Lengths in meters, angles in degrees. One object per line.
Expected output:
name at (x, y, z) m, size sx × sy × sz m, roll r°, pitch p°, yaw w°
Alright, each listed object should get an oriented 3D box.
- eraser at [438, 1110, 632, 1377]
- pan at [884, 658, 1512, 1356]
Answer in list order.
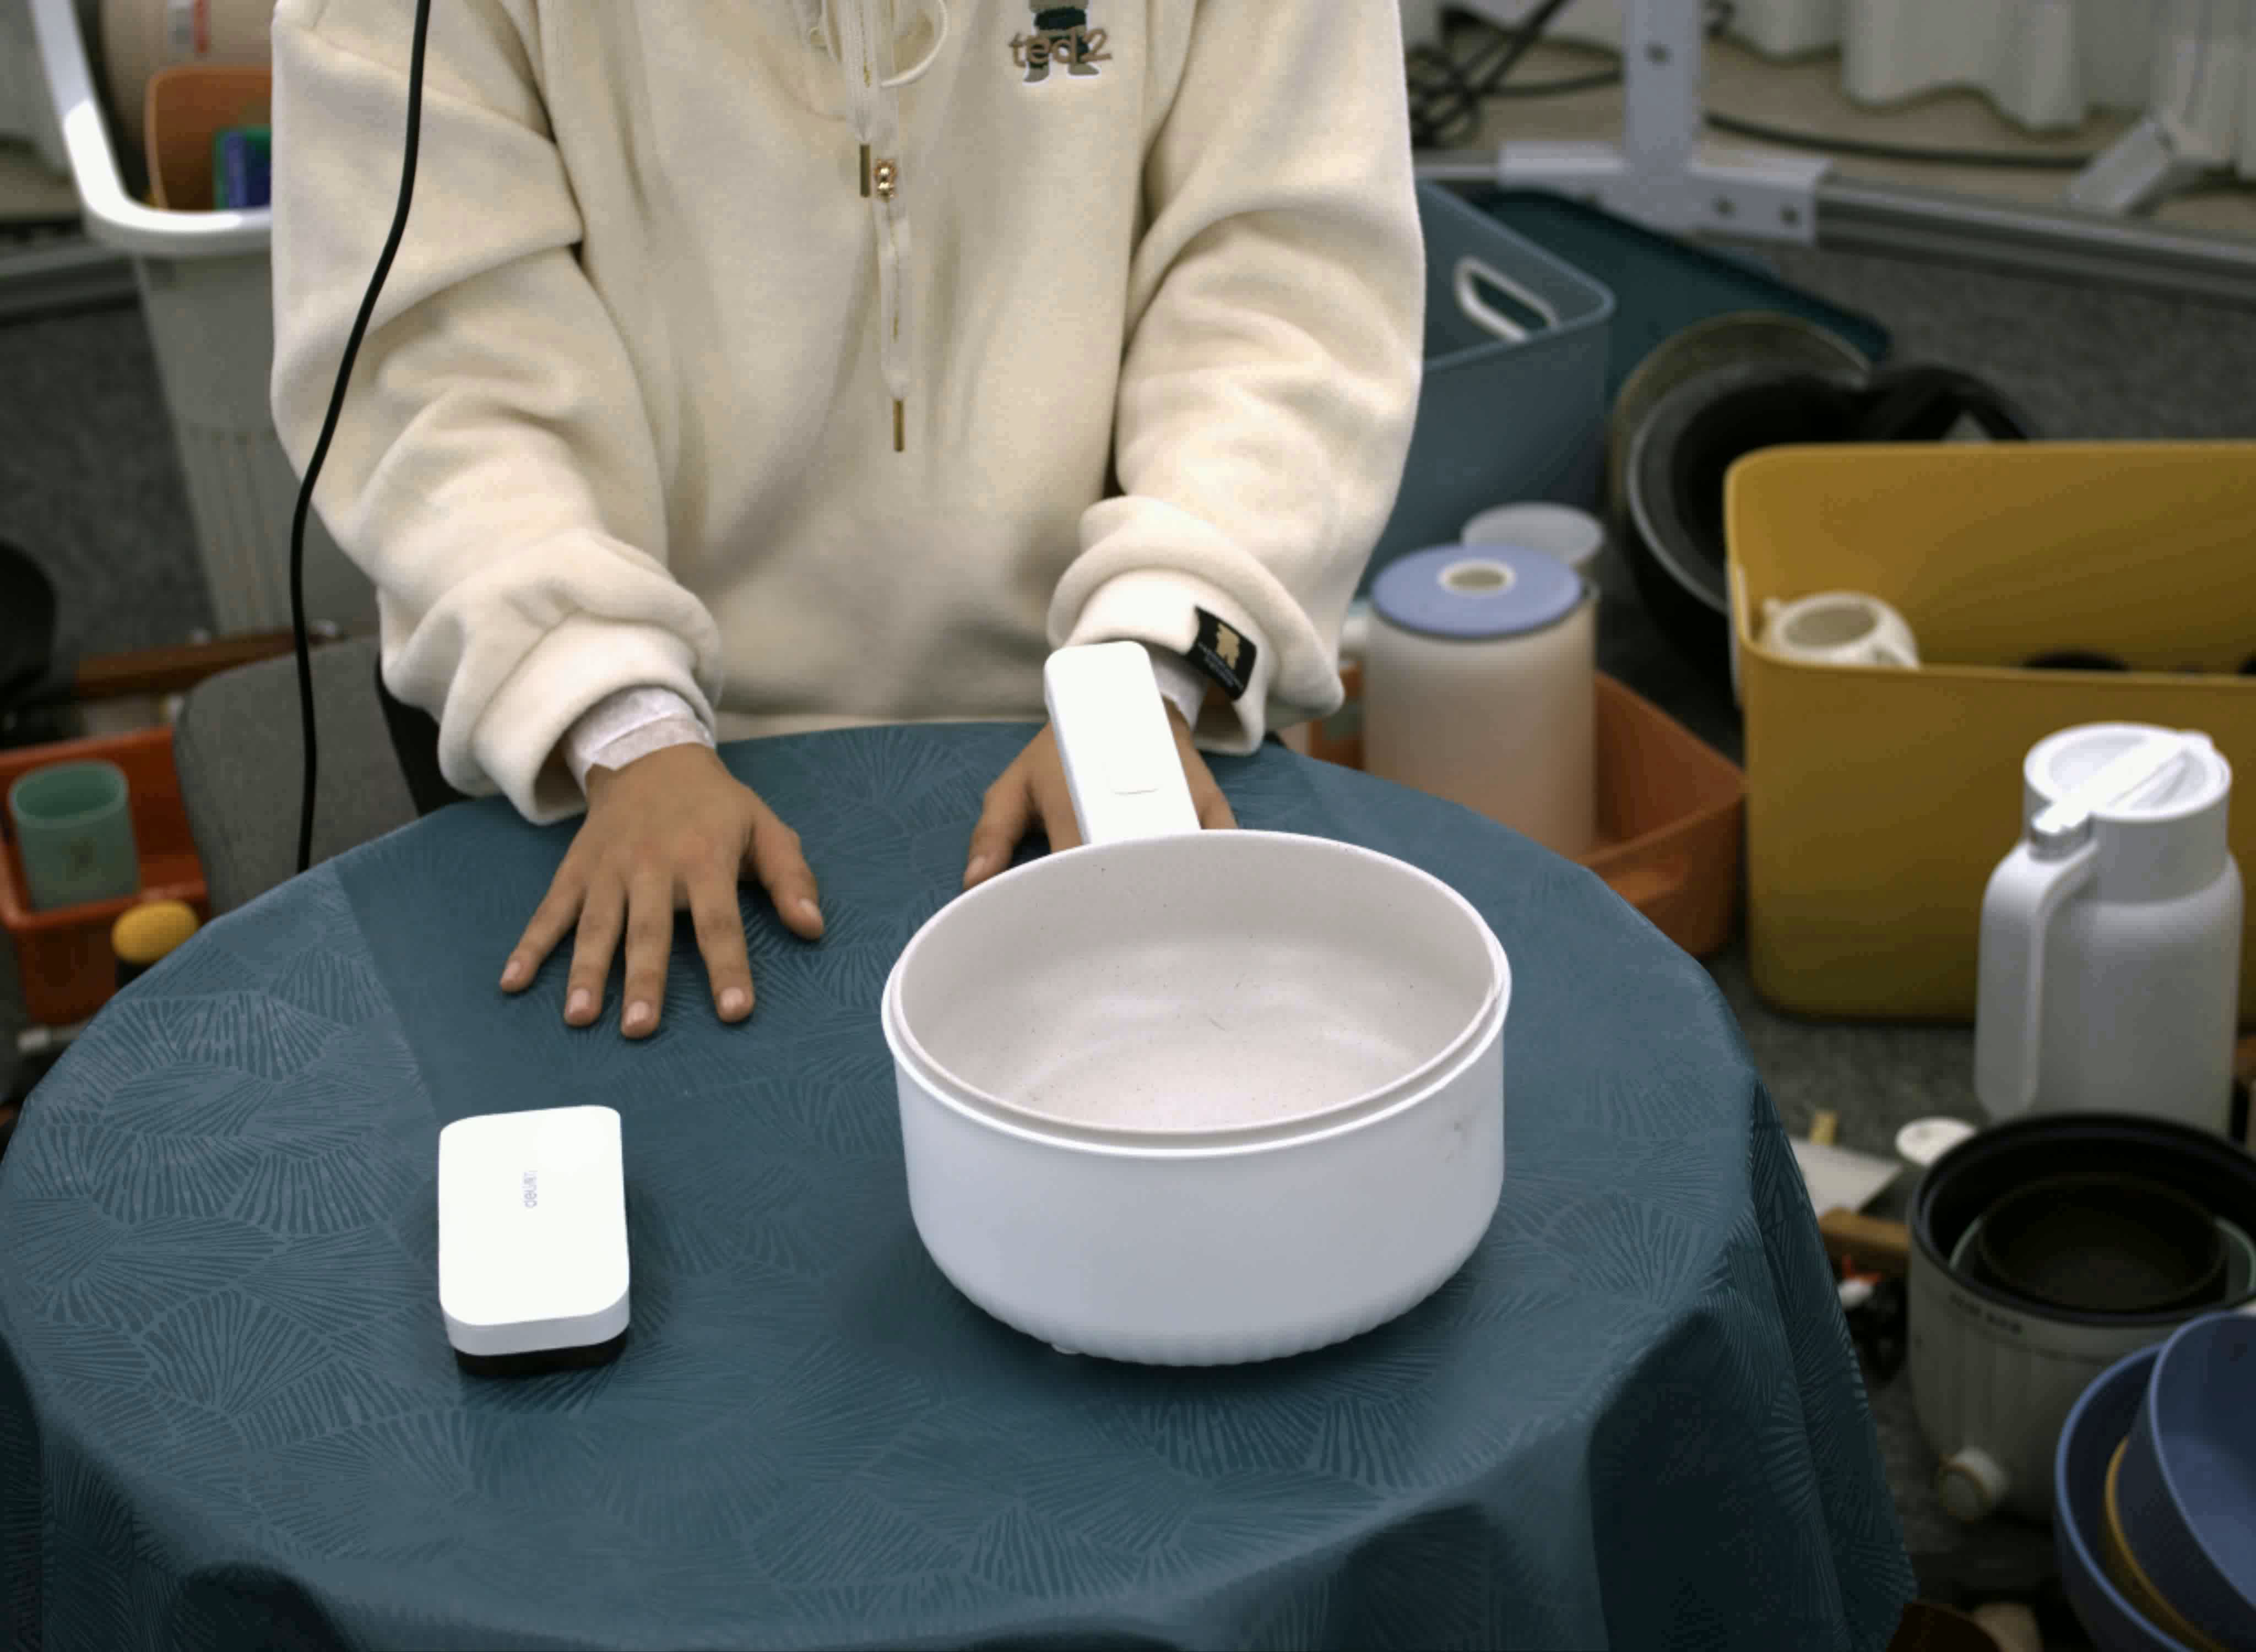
eraser at (-0.192, 0.132, 1.827) m, size 0.063 × 0.034 × 0.133 m, roll -3°, pitch 28°, yaw -5°
pan at (0.013, 0.057, 1.878) m, size 0.201 × 0.101 × 0.359 m, roll -5°, pitch 25°, yaw -6°
